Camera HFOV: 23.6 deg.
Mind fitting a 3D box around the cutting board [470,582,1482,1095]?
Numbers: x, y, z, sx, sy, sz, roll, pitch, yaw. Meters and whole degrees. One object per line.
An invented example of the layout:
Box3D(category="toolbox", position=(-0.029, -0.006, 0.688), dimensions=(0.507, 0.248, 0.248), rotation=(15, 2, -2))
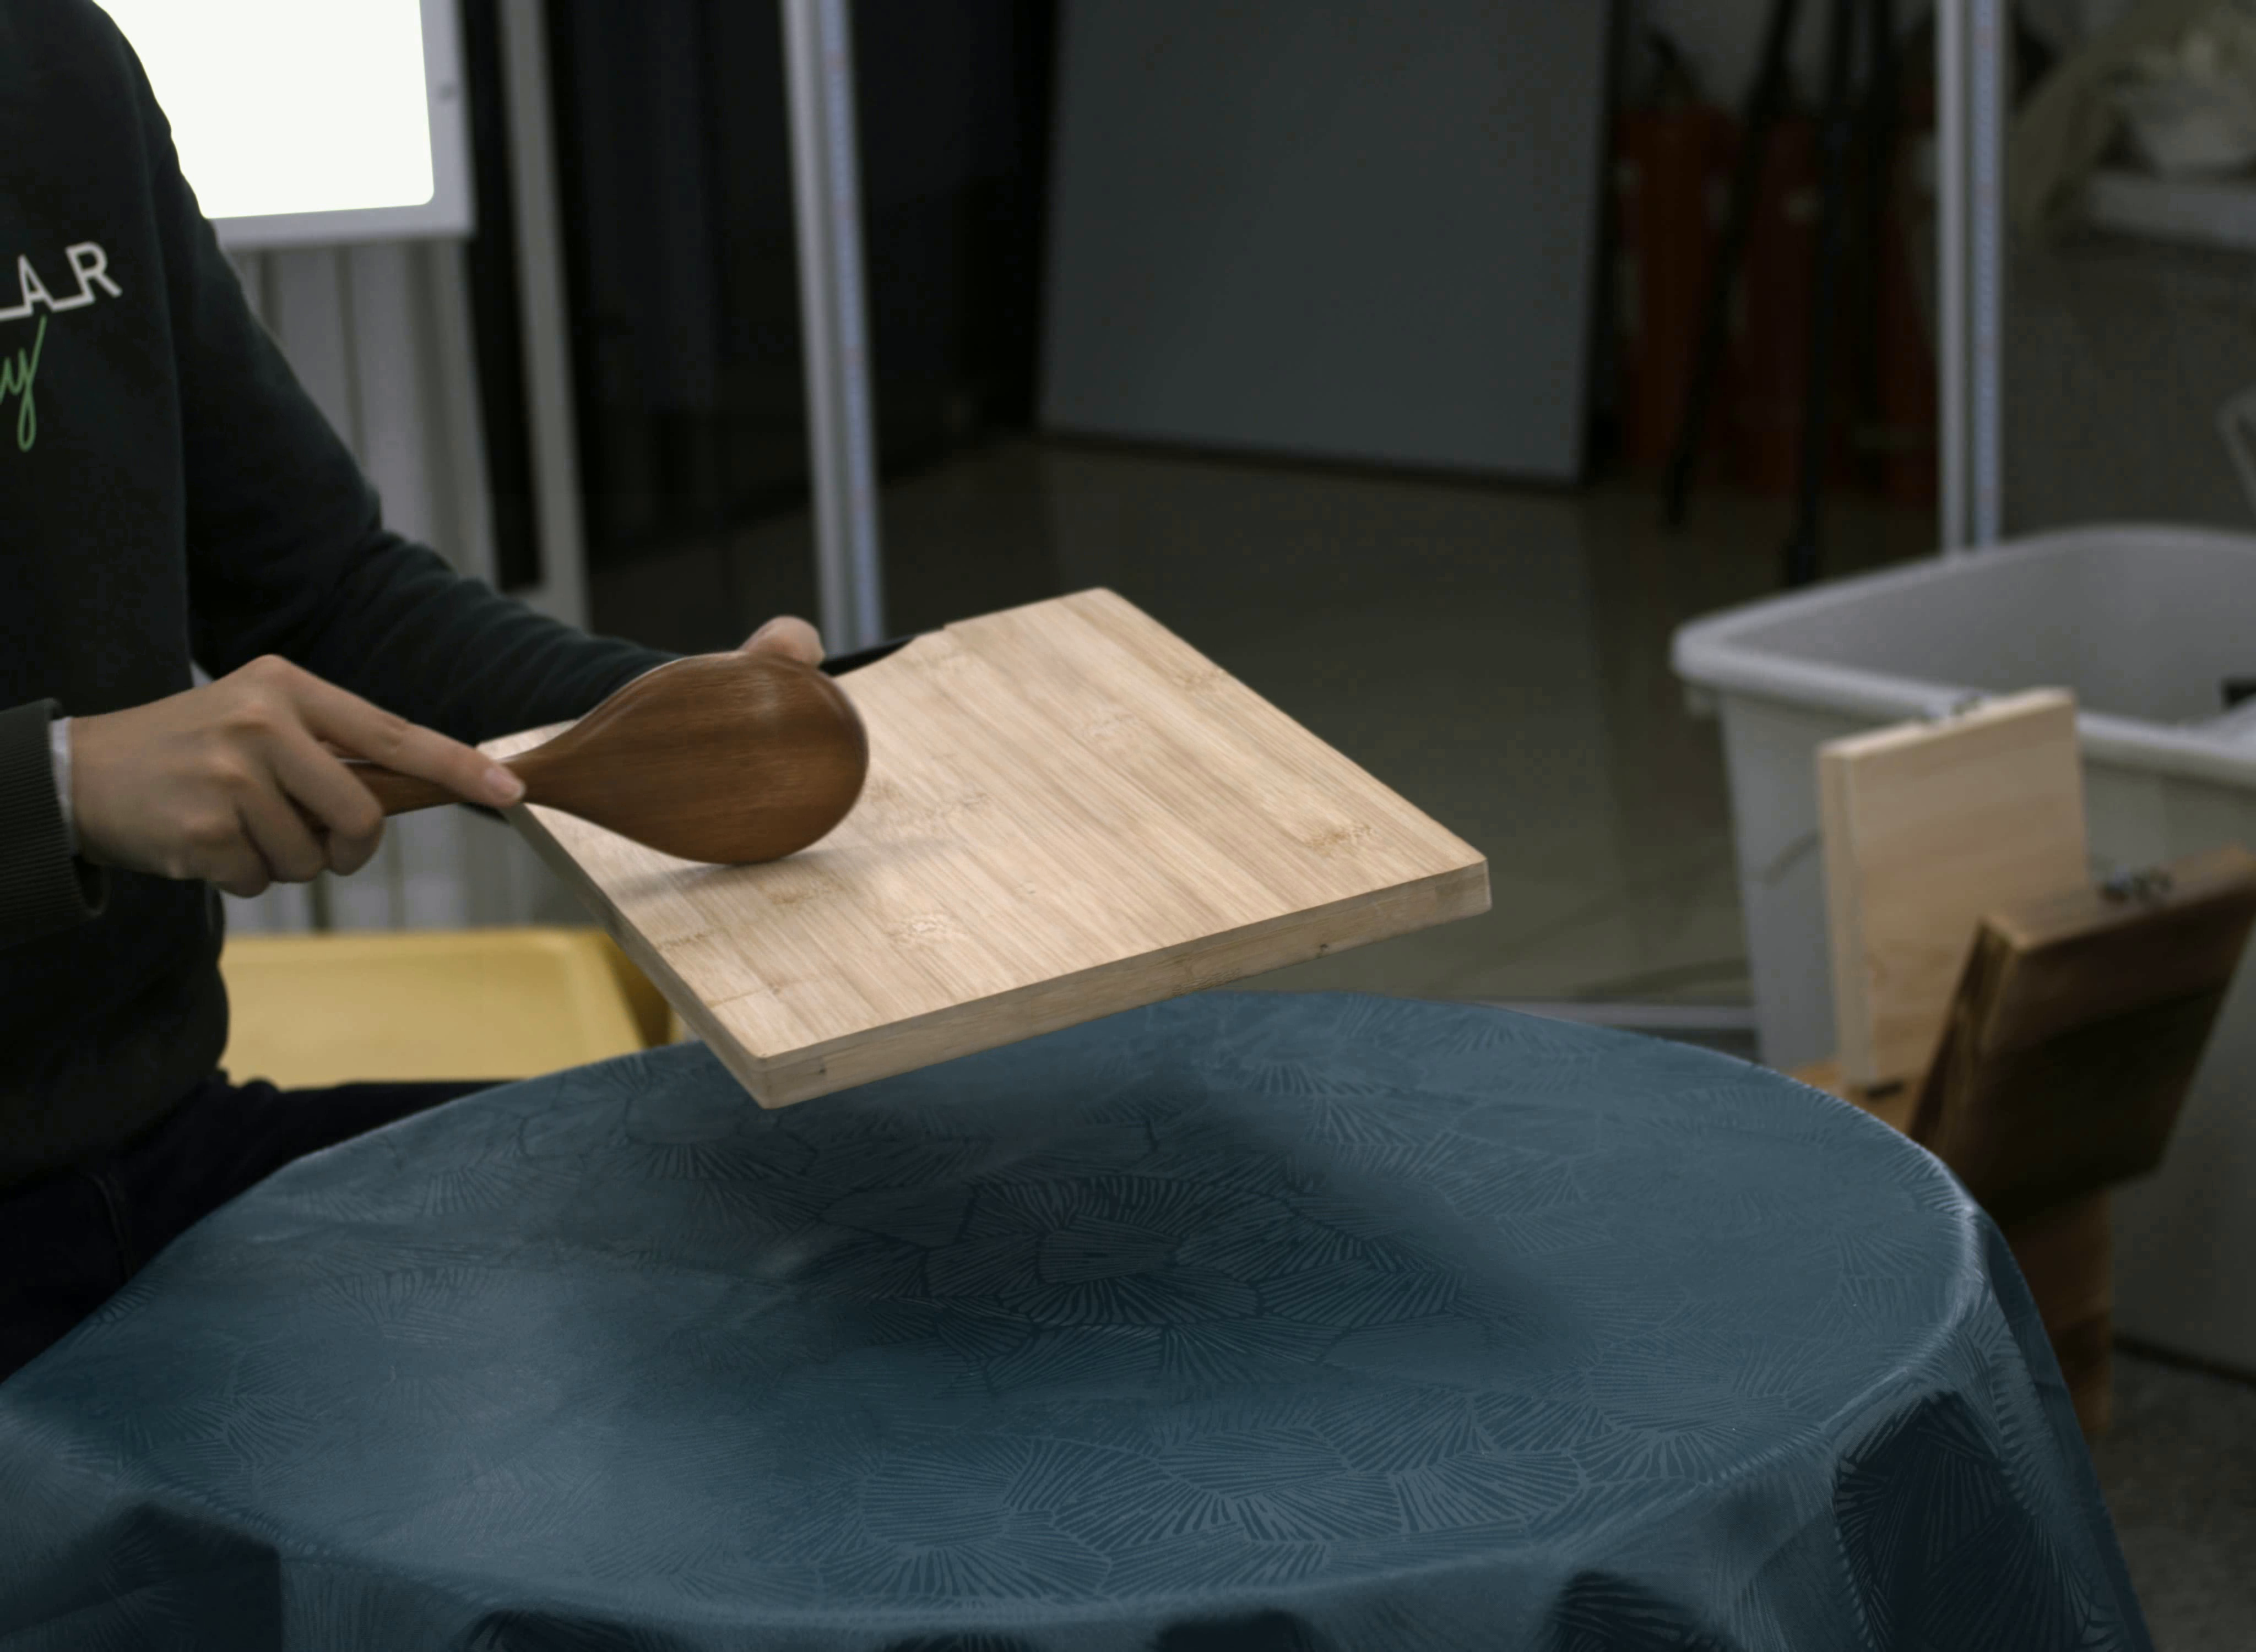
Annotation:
Box3D(category="cutting board", position=(-0.060, -0.003, 1.769), dimensions=(0.246, 0.024, 0.352), rotation=(-15, 21, -17))

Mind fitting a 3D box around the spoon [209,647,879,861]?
Box3D(category="spoon", position=(-0.185, -0.015, 1.719), dimensions=(0.213, 0.076, 0.017), rotation=(-5, 26, 4))
